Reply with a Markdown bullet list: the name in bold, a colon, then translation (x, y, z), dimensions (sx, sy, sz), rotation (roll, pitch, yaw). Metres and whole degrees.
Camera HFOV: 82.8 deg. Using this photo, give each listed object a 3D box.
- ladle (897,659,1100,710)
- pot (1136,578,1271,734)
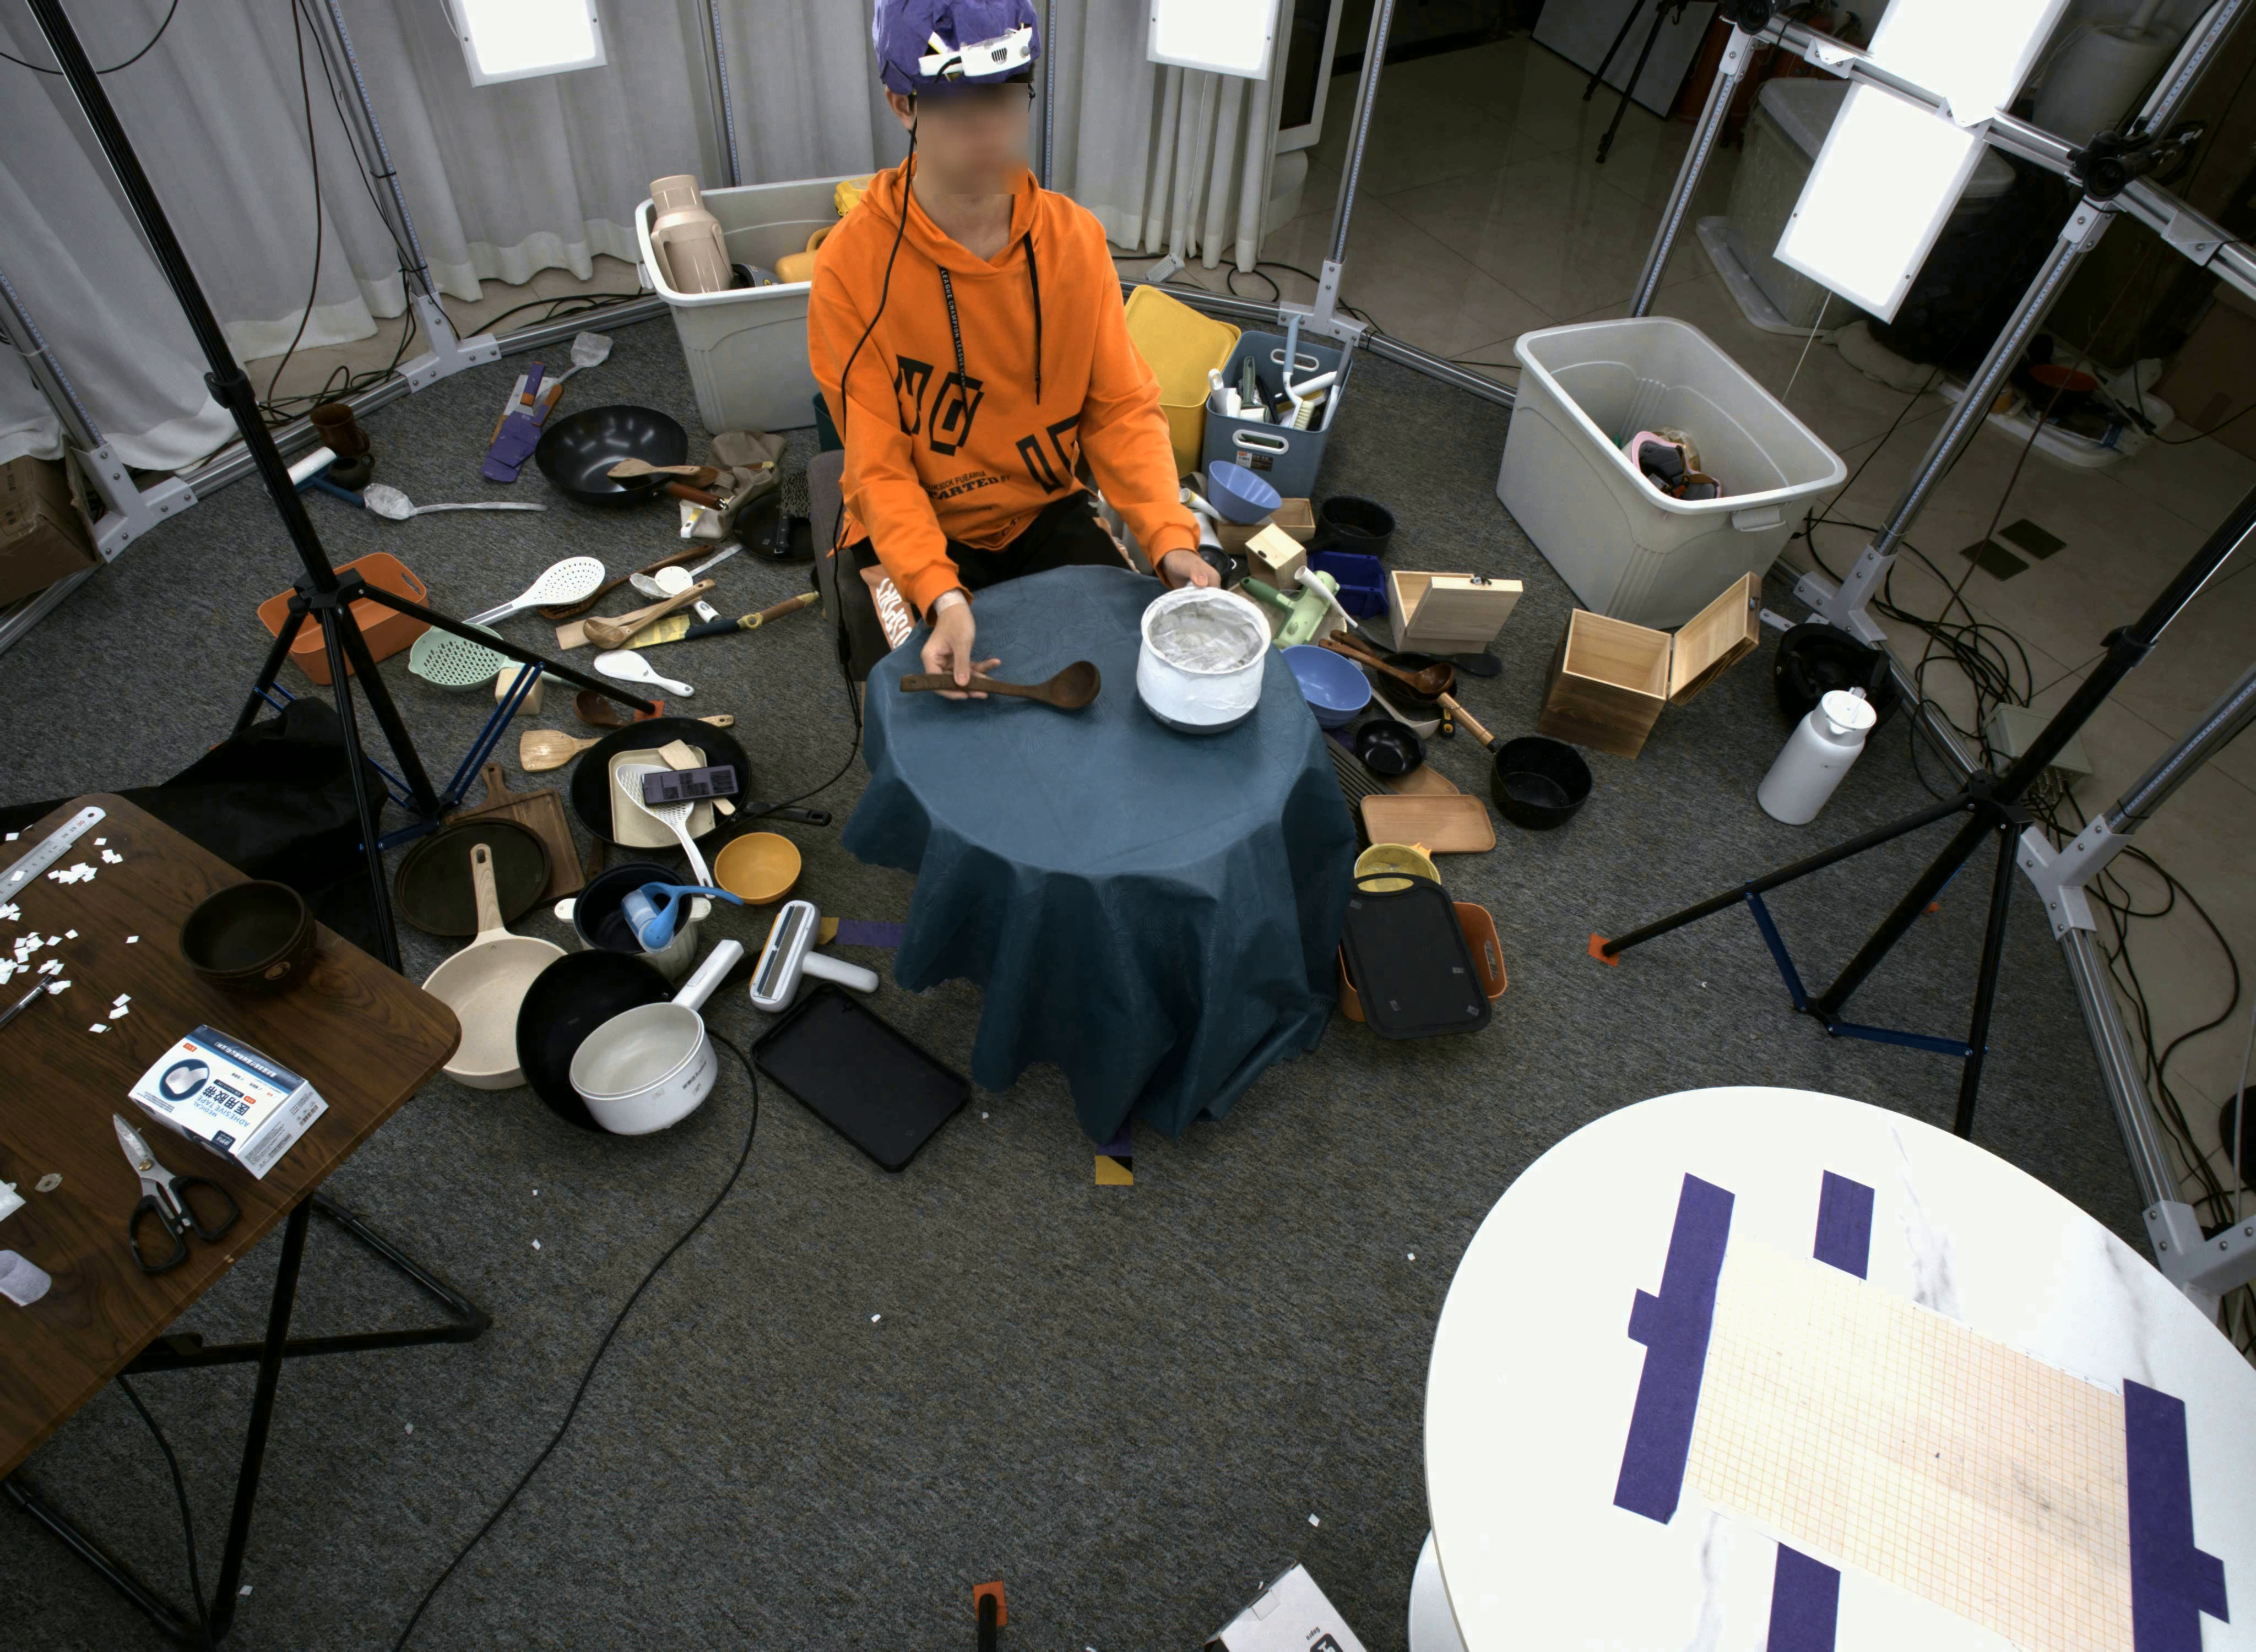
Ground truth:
- **ladle**: translation (-0.176, -0.203, 1.769), dimensions (0.273, 0.070, 0.078), rotation (3, 54, -14)
- **pot**: translation (0.099, -0.248, 1.801), dimensions (0.178, 0.133, 0.239), rotation (-2, 49, -7)
